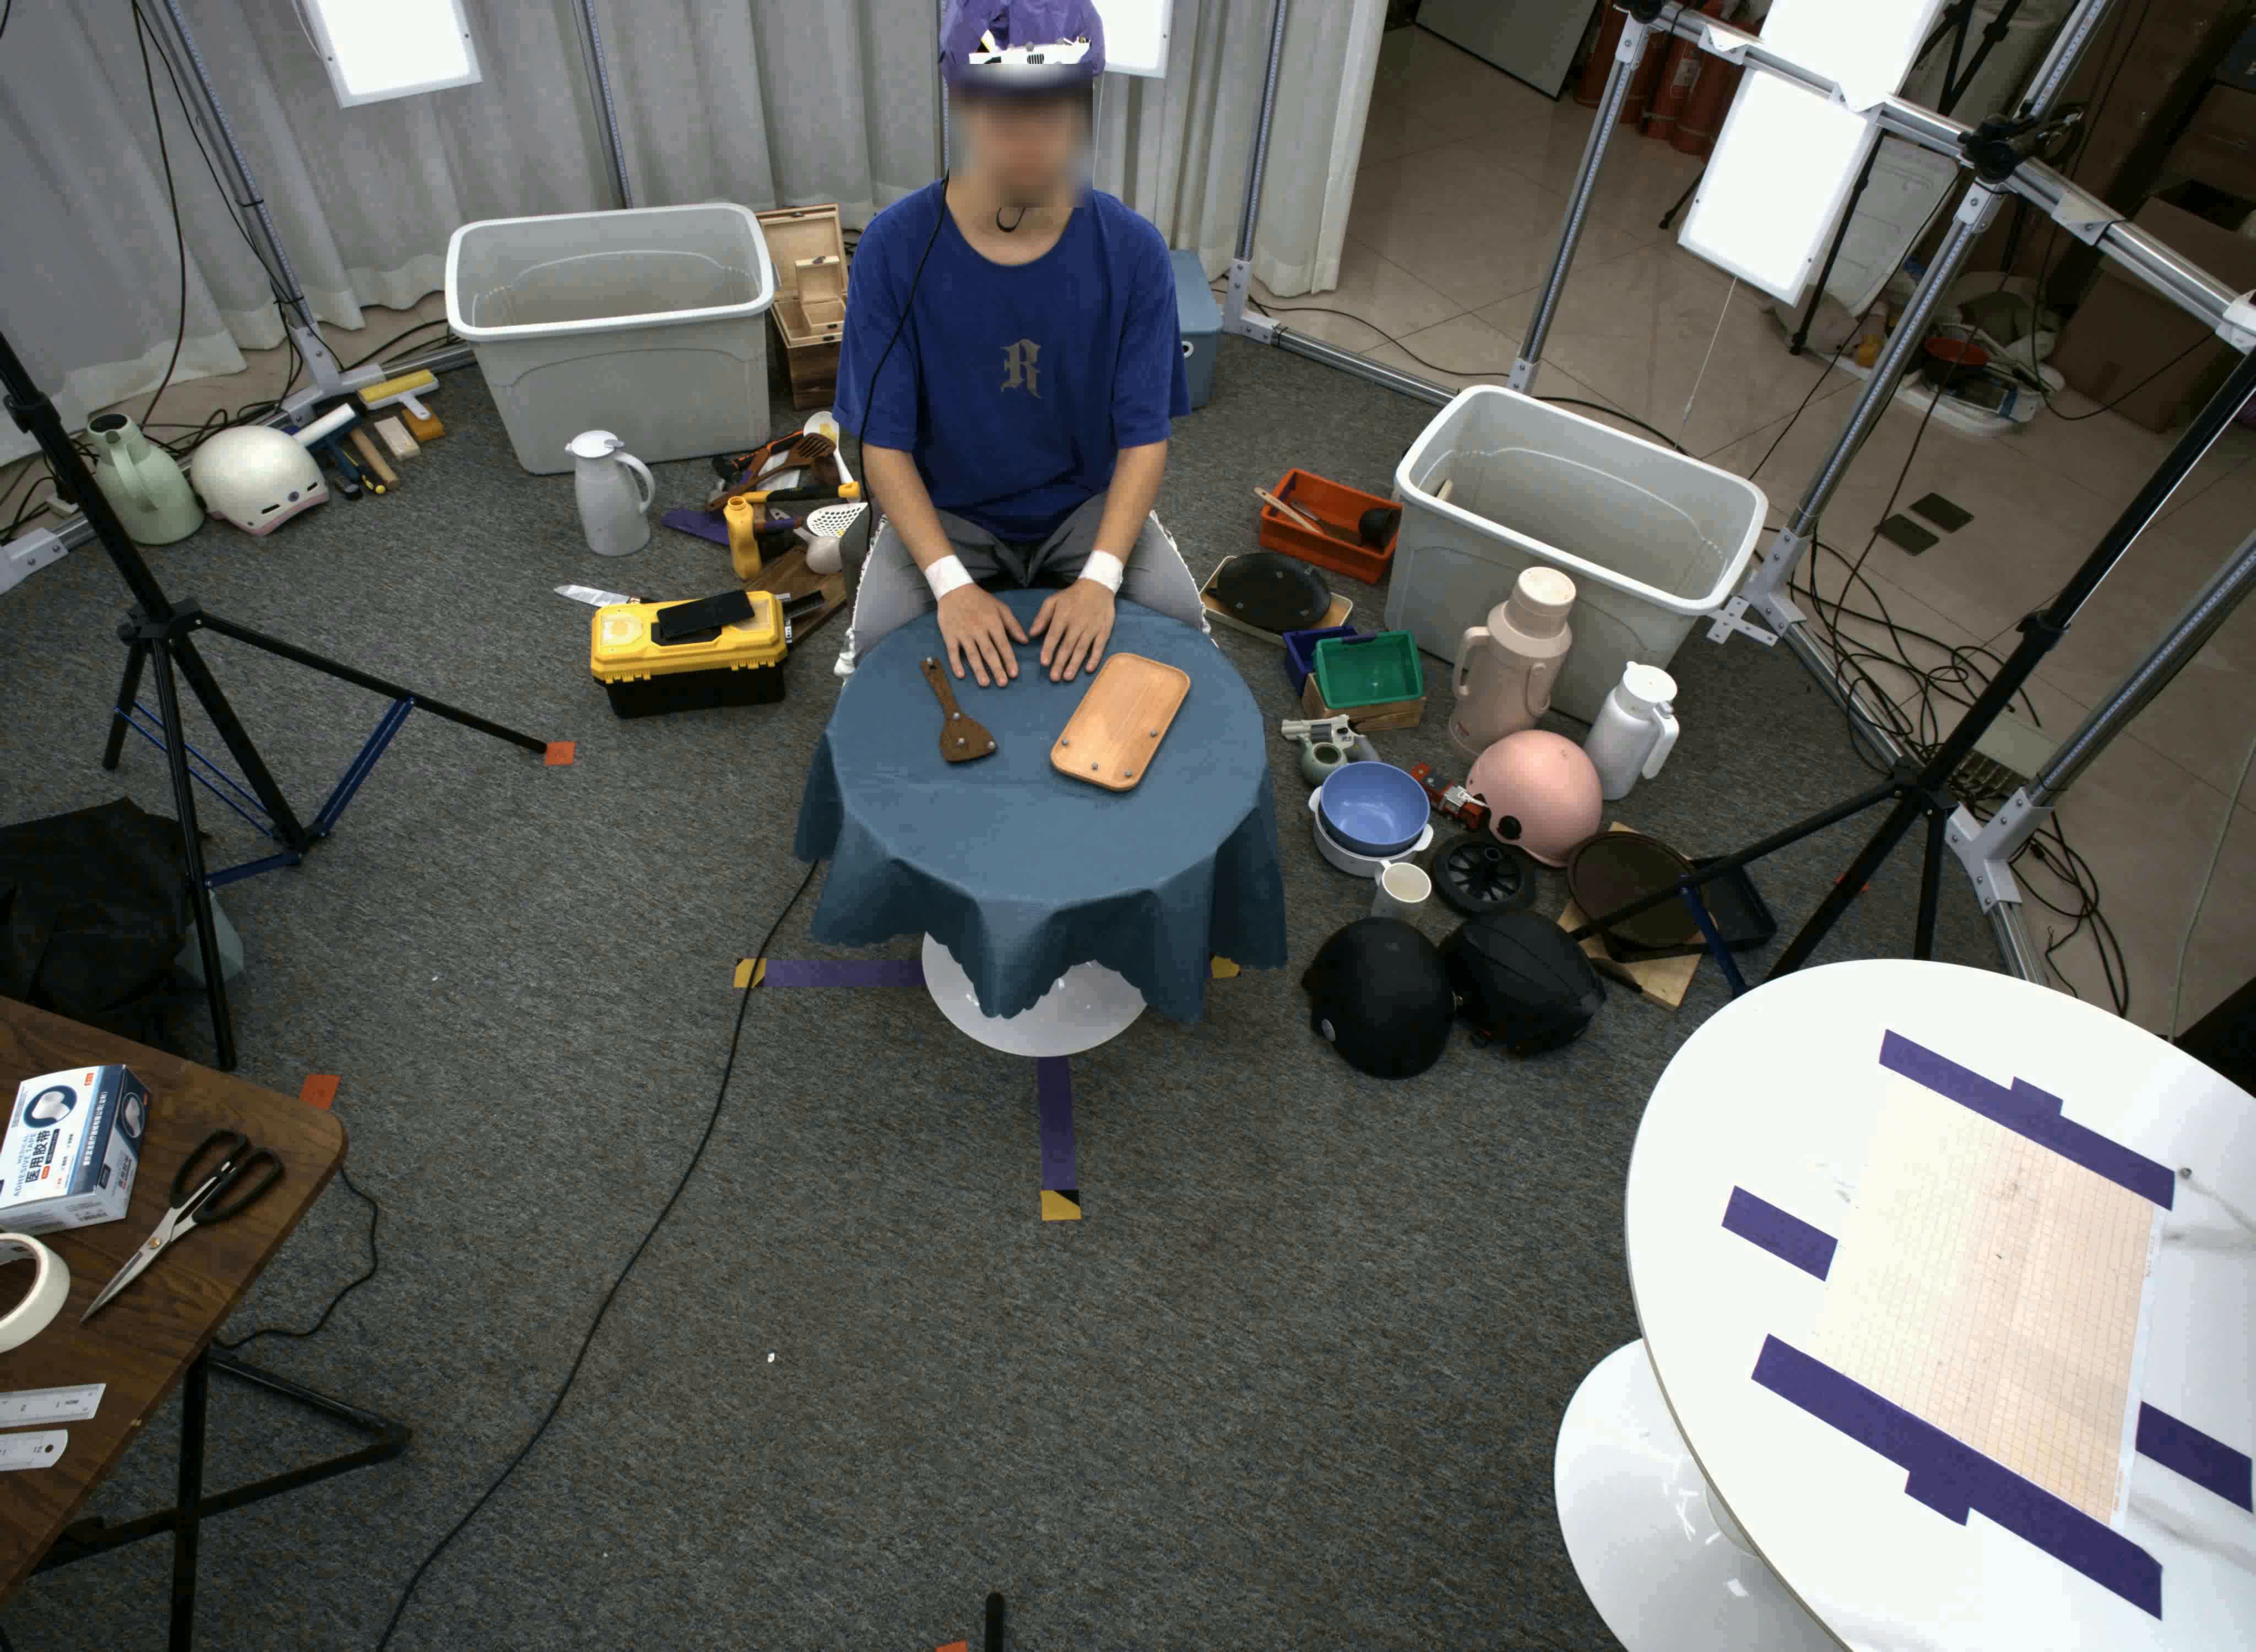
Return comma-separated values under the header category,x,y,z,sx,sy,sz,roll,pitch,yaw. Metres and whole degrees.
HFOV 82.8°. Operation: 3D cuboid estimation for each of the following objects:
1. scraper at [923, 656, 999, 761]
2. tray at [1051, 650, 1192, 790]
category,x,y,z,sx,sy,sz,roll,pitch,yaw
scraper,-0.245,-0.167,1.796,0.076,0.010,0.216,-14,51,-16
tray,-0.006,-0.151,1.792,0.131,0.022,0.255,21,51,11
